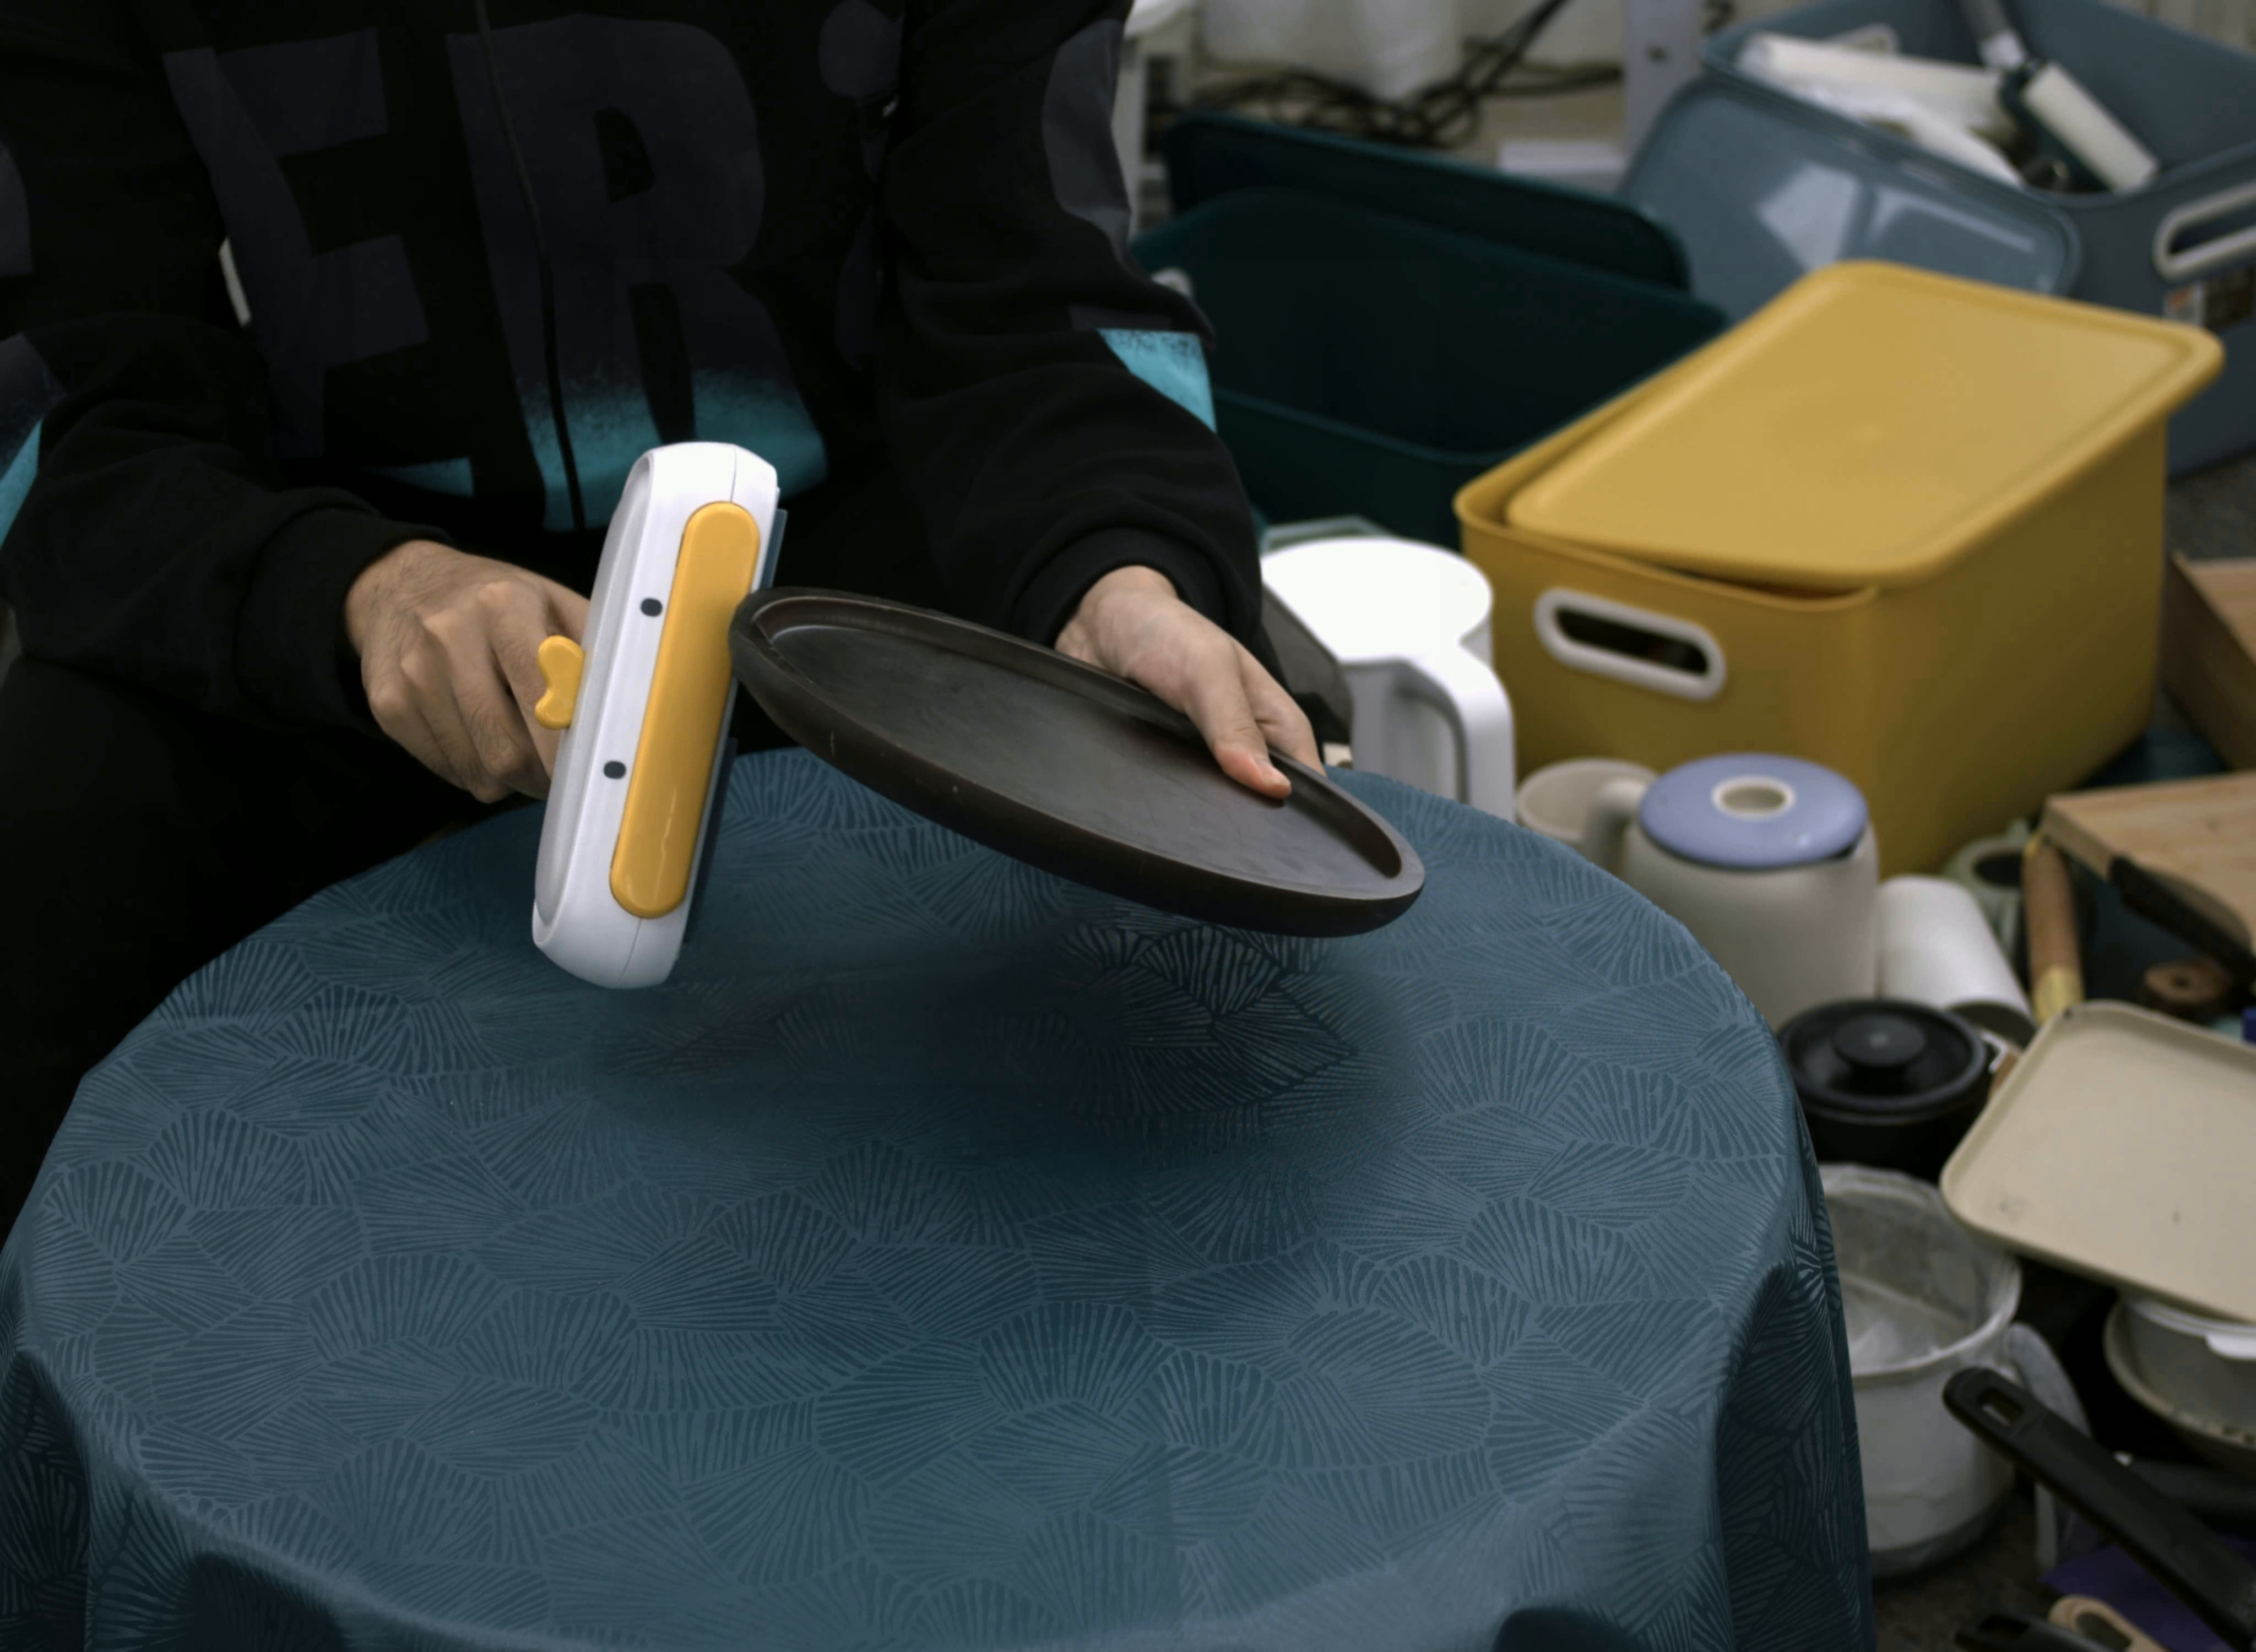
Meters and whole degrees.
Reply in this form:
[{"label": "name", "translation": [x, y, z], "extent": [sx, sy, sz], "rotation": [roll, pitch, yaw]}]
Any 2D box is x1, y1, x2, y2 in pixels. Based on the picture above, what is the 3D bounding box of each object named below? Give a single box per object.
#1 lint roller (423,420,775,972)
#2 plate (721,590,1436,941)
[{"label": "lint roller", "translation": [-0.193, -0.042, 1.994], "extent": [0.074, 0.195, 0.190], "rotation": [10, -10, -24]}, {"label": "plate", "translation": [-0.020, -0.020, 1.901], "extent": [0.254, 0.029, 0.256], "rotation": [20, 12, -4]}]
